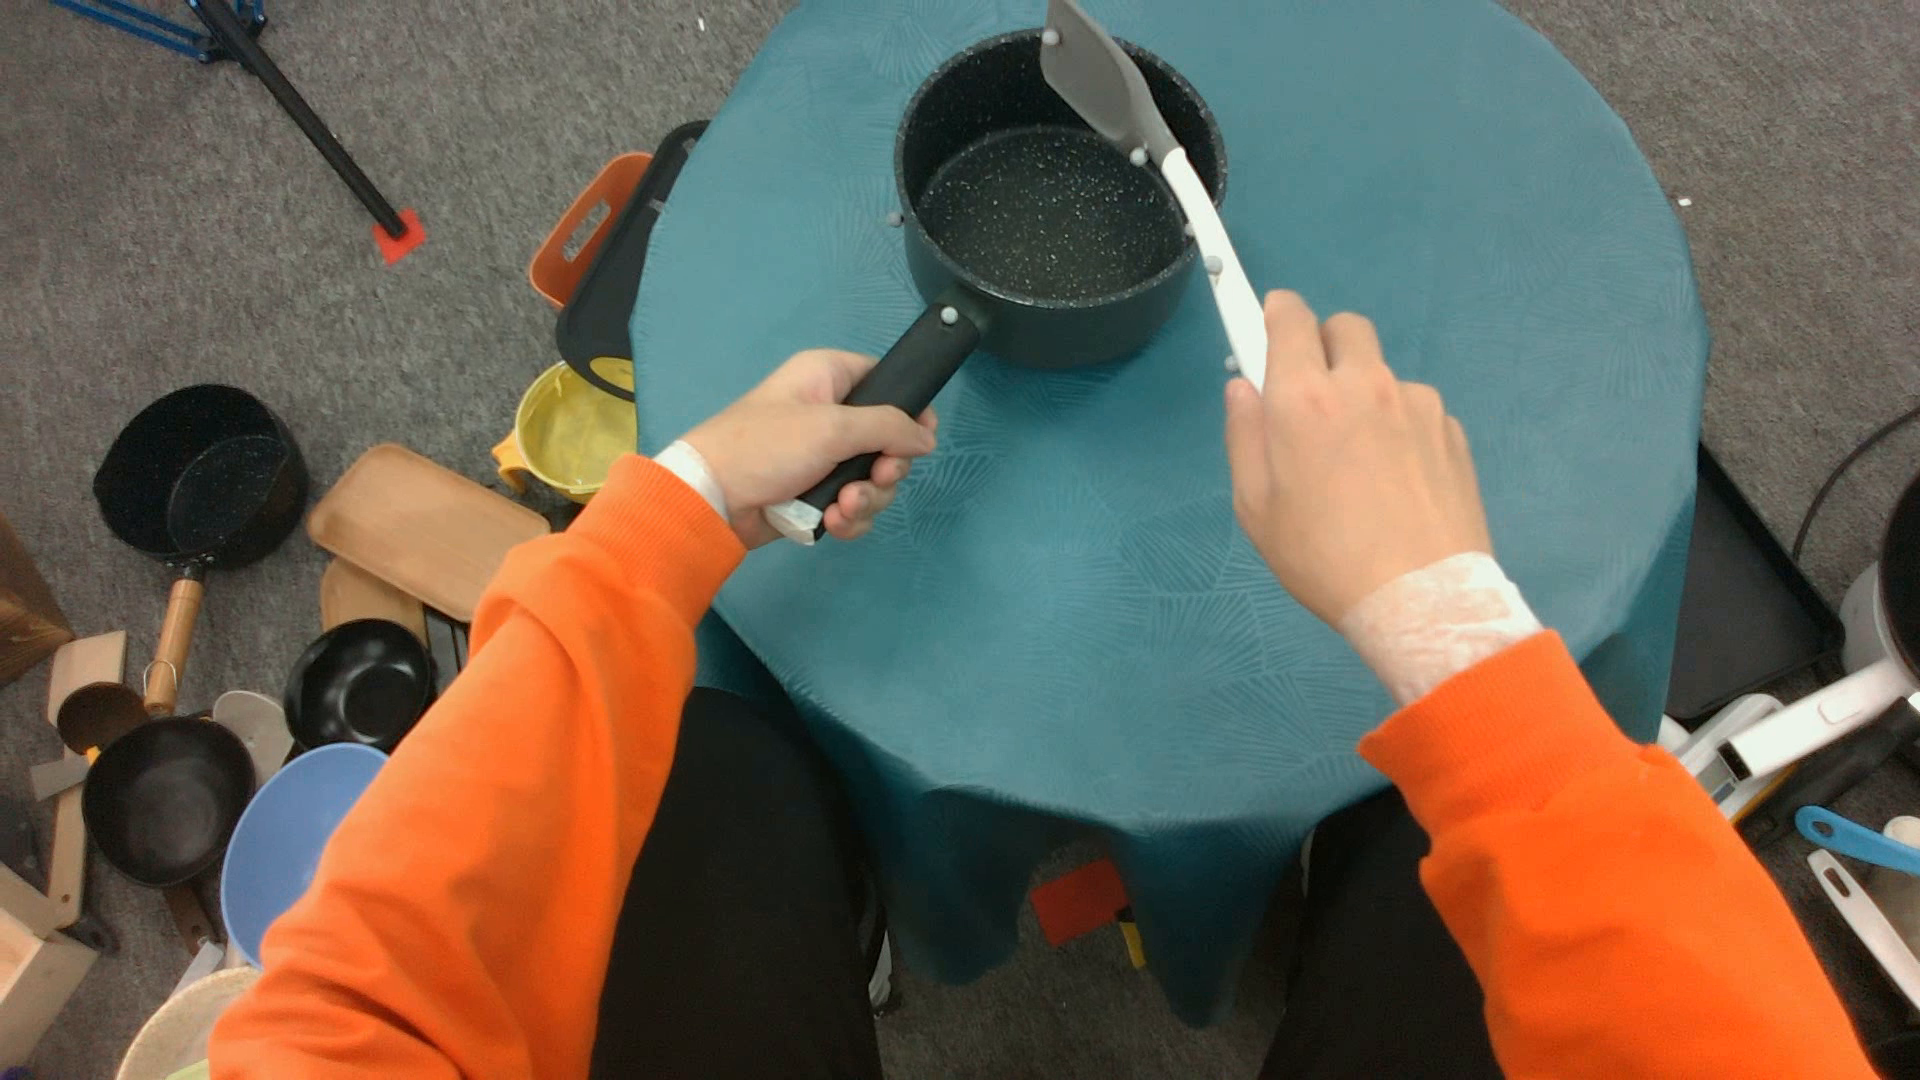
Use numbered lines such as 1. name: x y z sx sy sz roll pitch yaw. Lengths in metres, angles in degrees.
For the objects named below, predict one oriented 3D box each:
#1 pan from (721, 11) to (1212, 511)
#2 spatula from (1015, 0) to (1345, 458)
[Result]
1. pan: -0.002 -0.130 0.709 0.172 0.086 0.330 34 70 12
2. spatula: 0.090 -0.155 0.625 0.032 0.058 0.288 -17 59 -13
